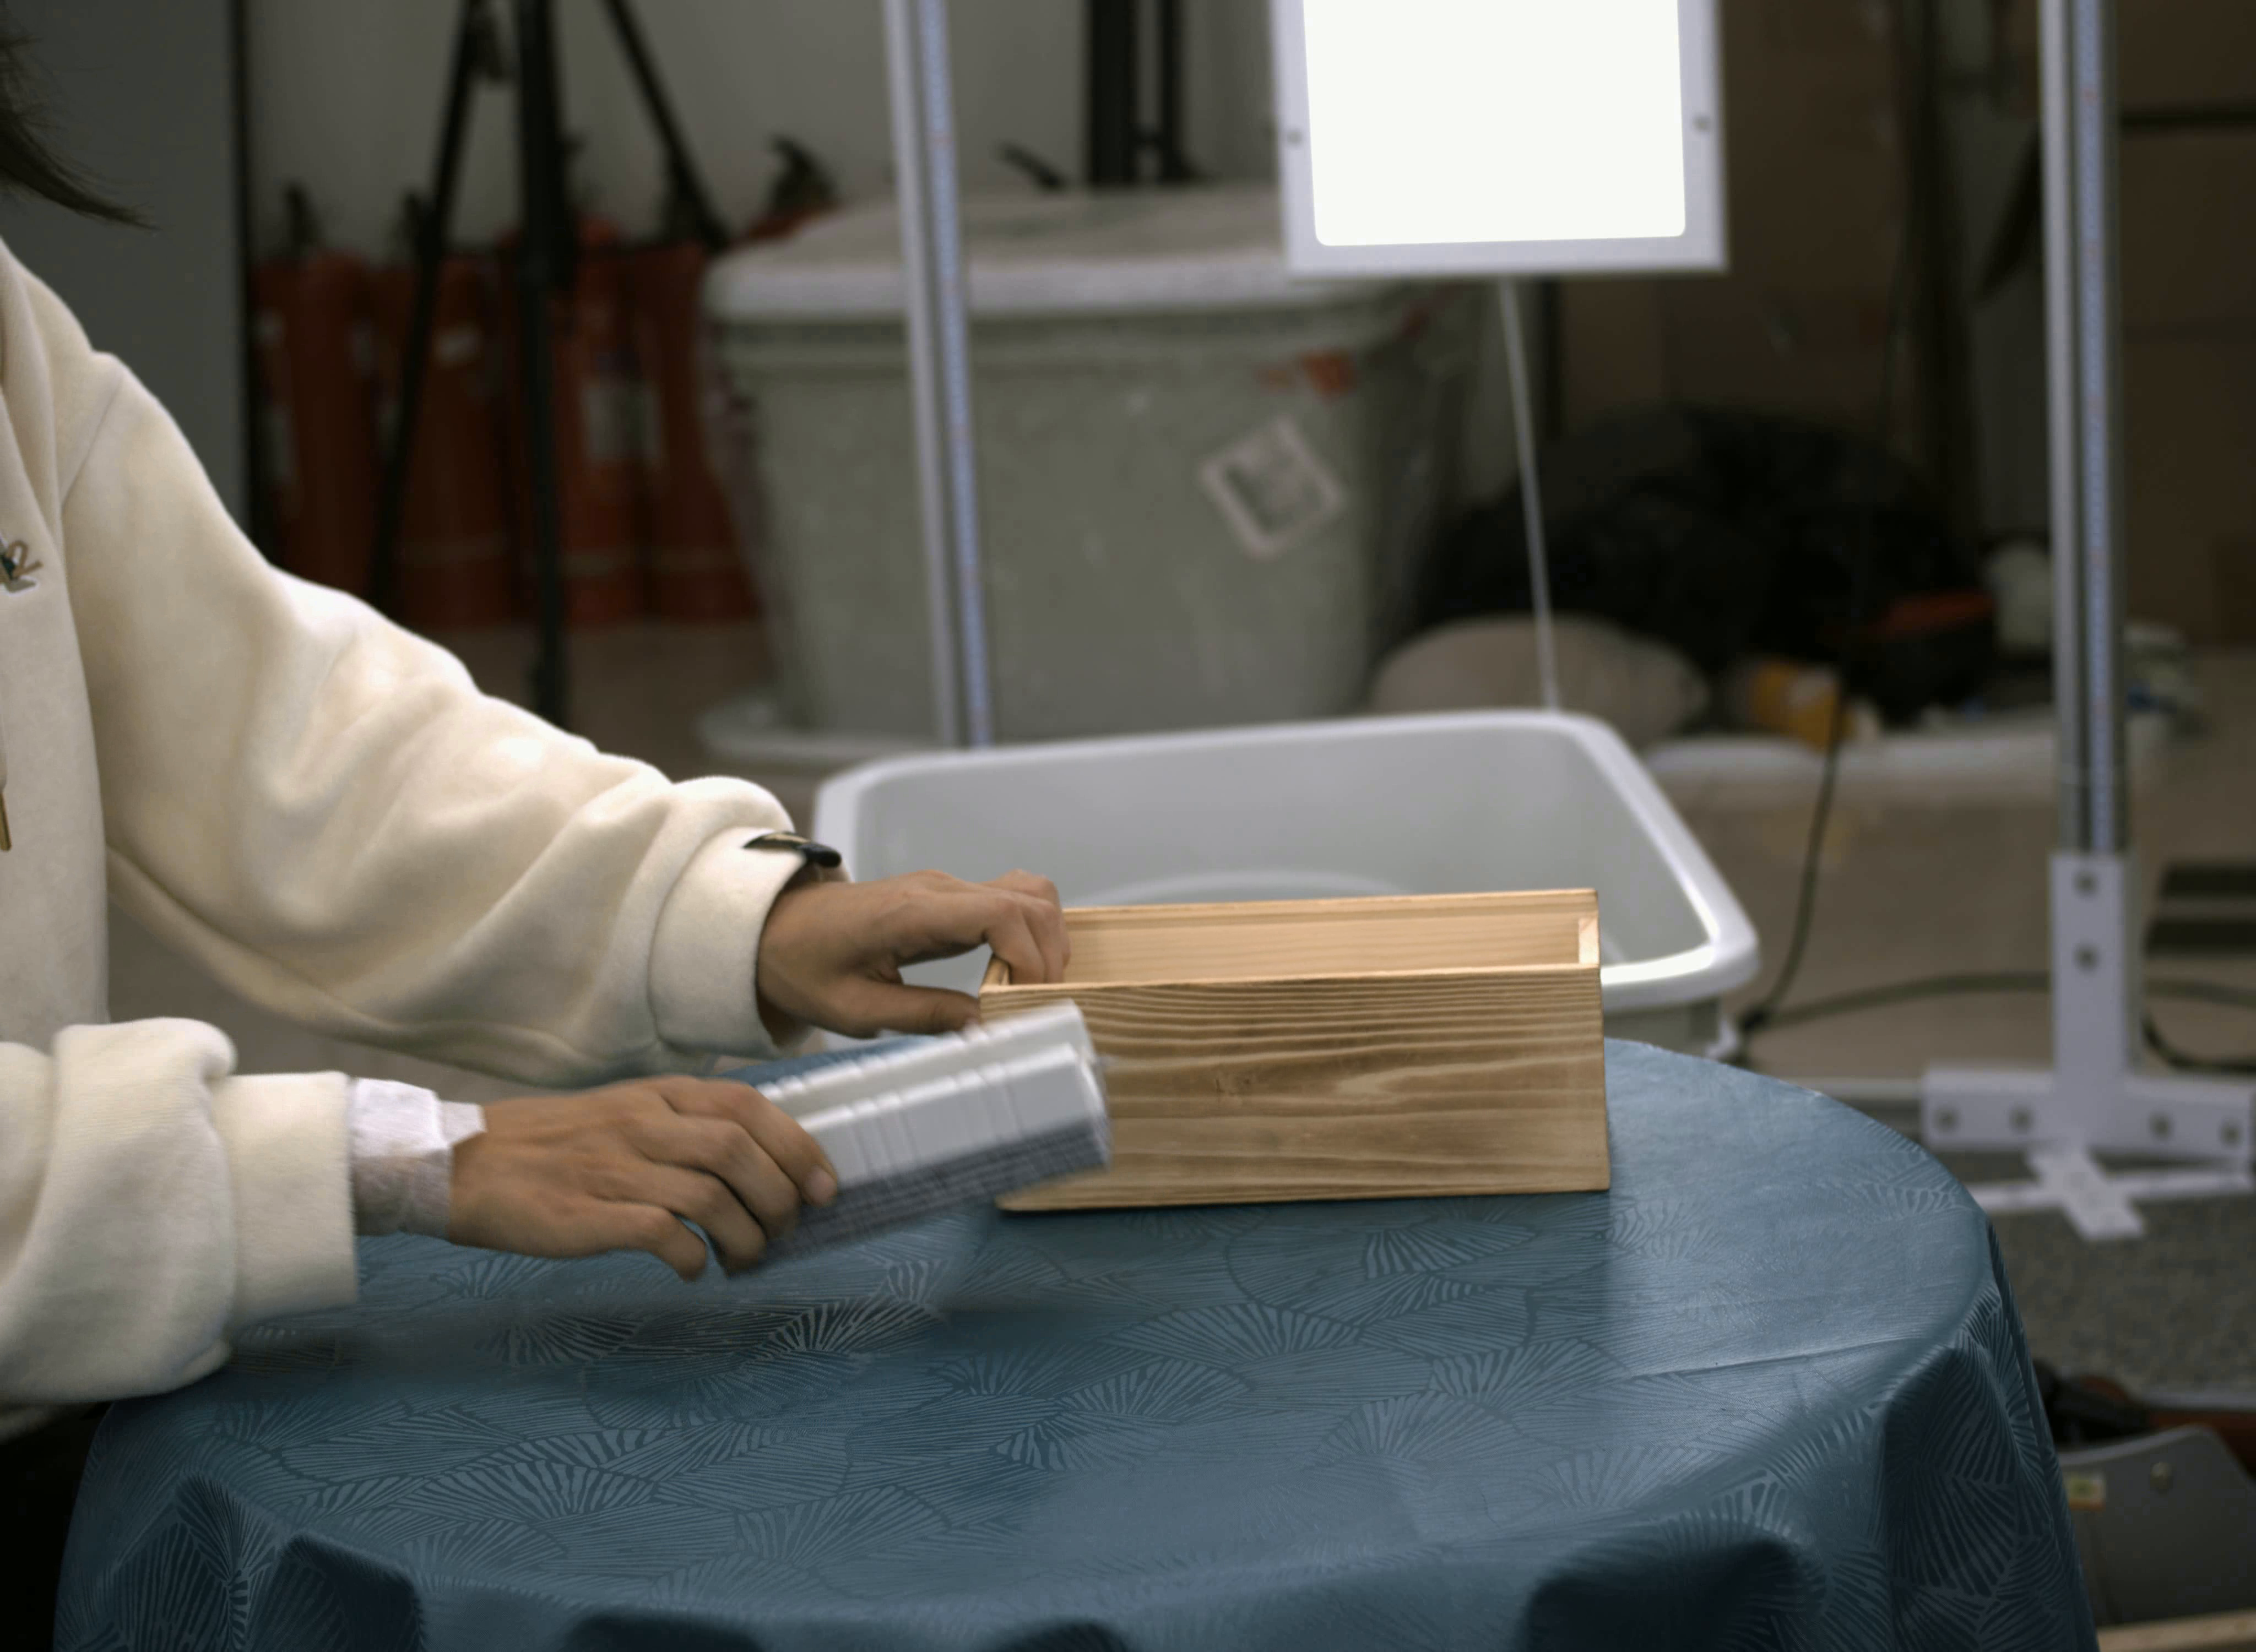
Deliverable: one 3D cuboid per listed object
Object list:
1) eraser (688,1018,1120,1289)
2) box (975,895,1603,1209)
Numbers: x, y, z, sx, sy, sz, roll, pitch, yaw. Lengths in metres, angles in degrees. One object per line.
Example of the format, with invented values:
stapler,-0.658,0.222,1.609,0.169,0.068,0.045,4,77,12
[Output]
eraser,-0.071,0.106,1.774,0.135,0.046,0.049,-15,19,7
box,0.058,0.077,1.906,0.212,0.080,0.107,-2,14,6
